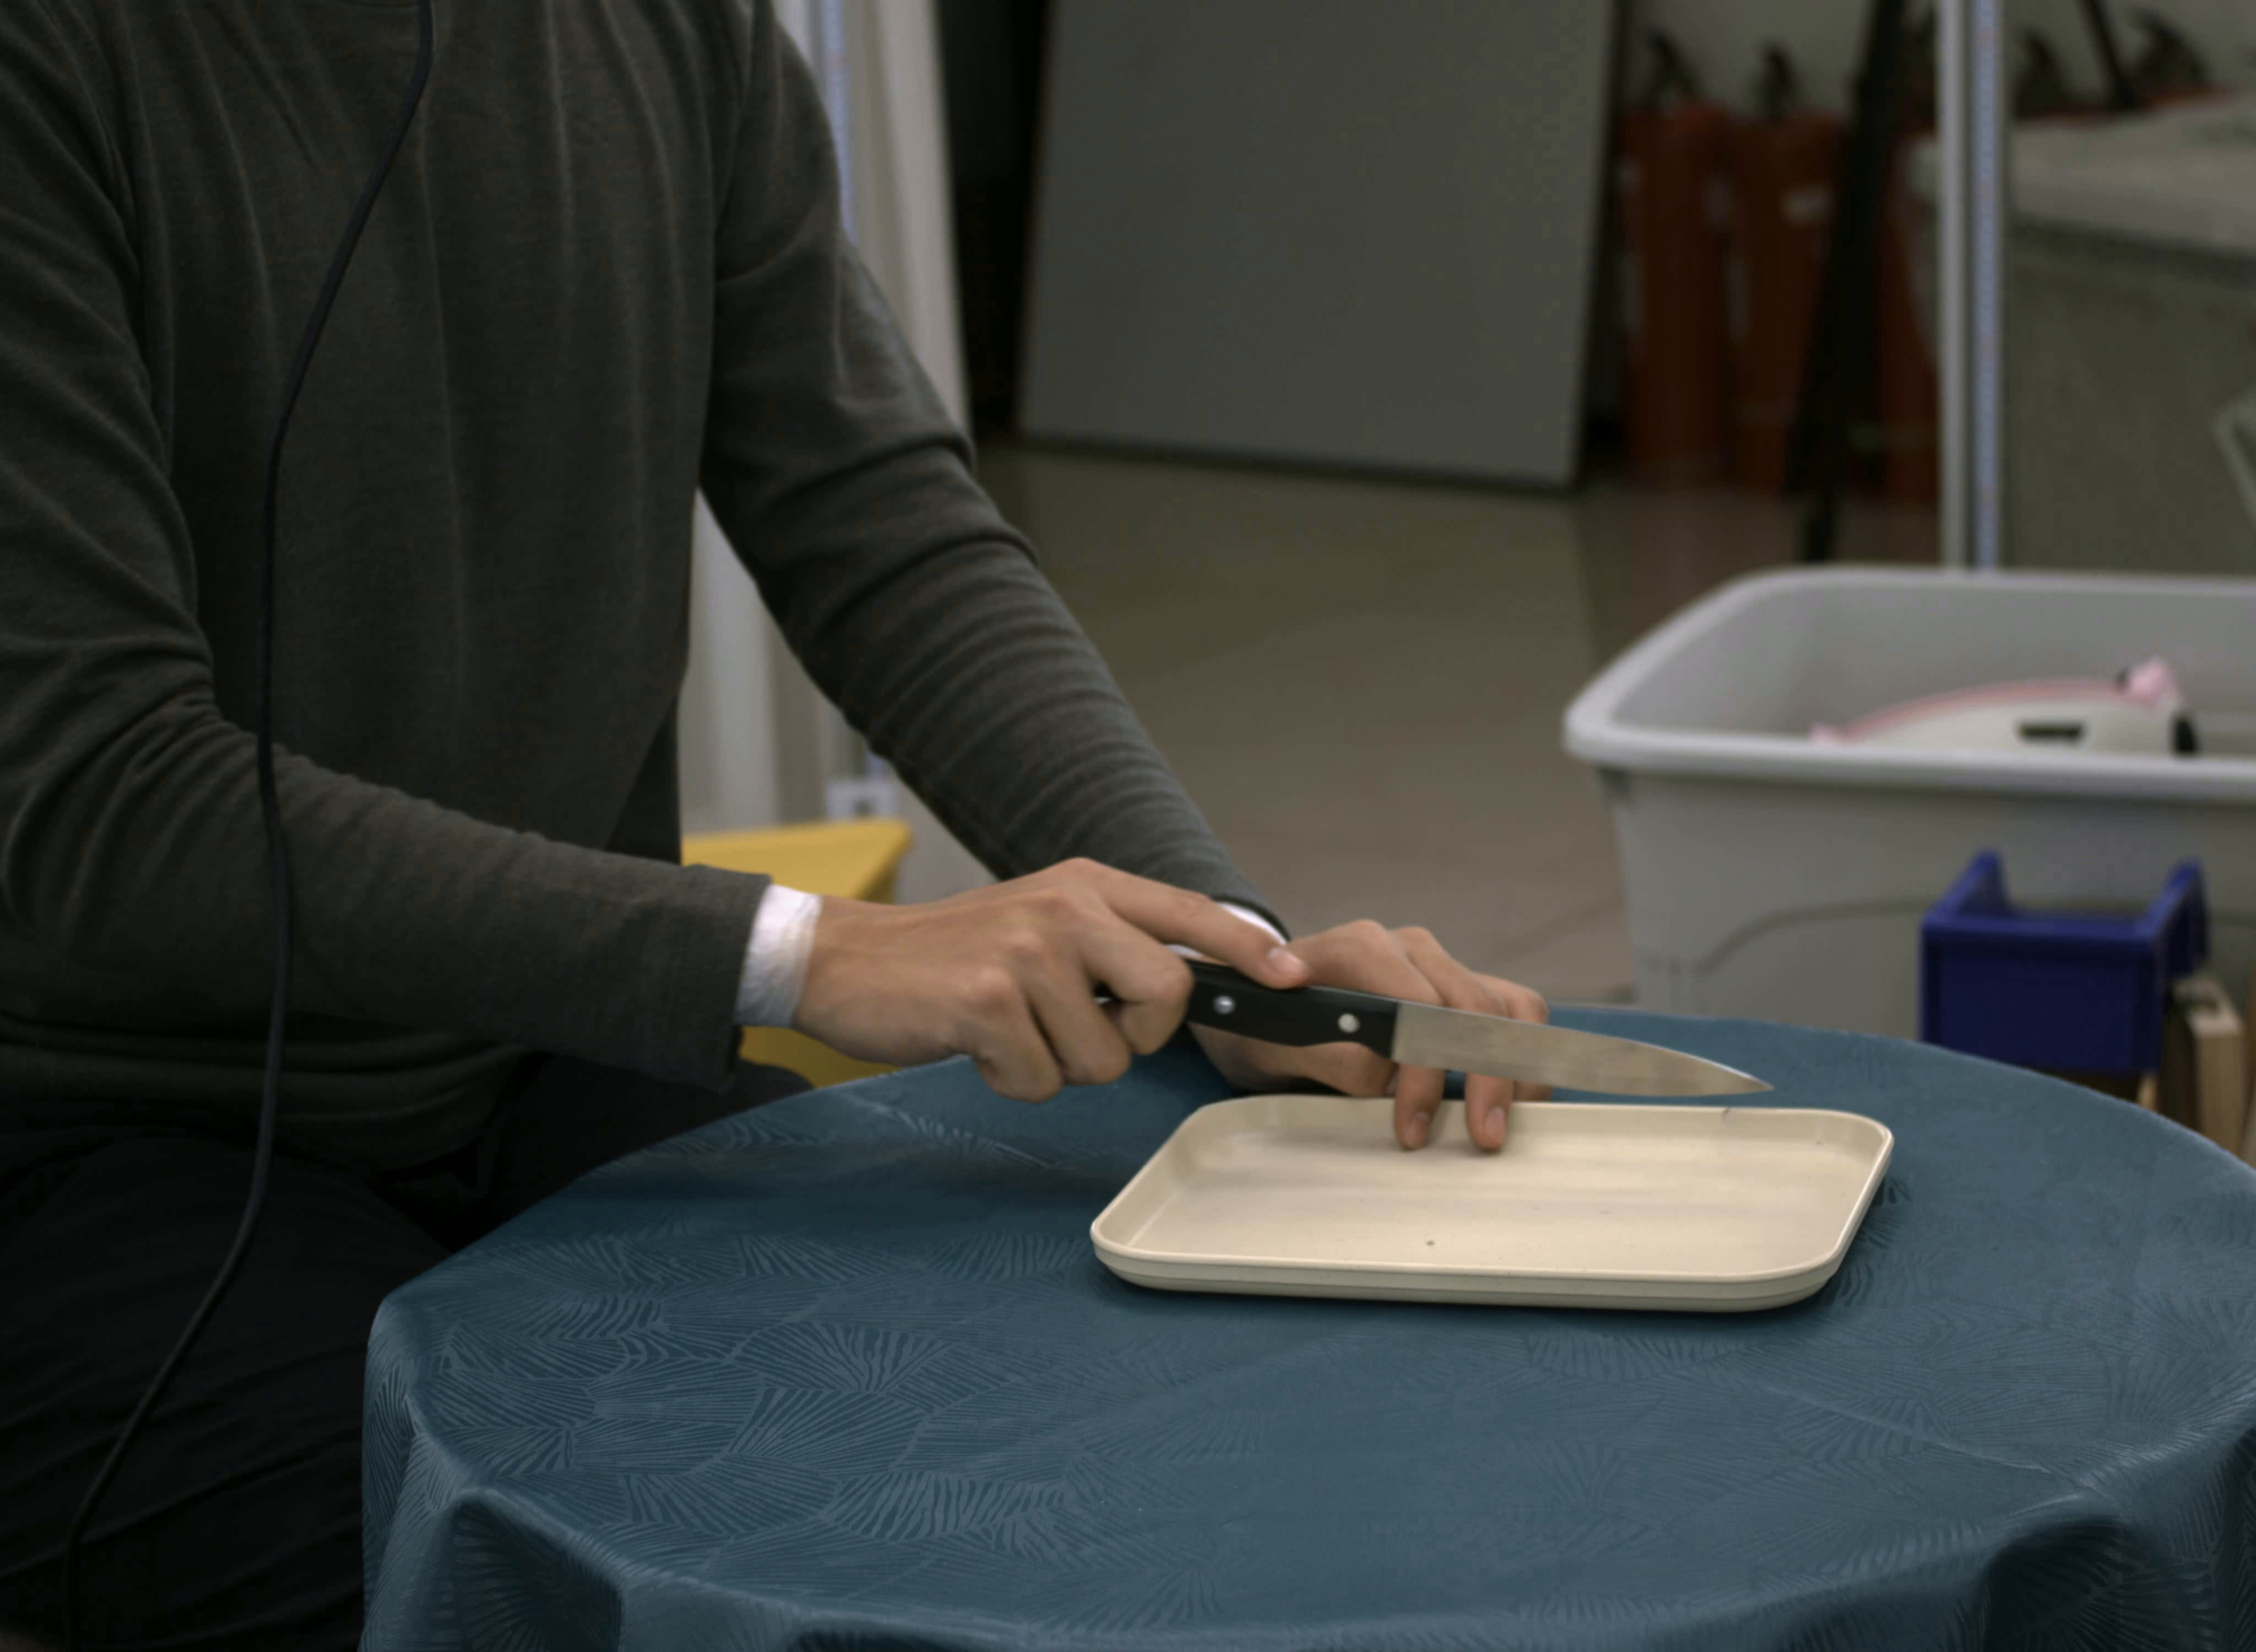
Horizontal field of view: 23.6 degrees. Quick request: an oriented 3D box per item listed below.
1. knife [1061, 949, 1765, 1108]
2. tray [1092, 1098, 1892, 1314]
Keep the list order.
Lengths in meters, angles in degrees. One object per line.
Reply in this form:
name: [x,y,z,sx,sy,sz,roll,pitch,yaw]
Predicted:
knife: [0.091,0.066,1.743,0.237,0.025,0.016,9,24,17]
tray: [0.117,0.120,1.708,0.239,0.017,0.170,0,15,18]
